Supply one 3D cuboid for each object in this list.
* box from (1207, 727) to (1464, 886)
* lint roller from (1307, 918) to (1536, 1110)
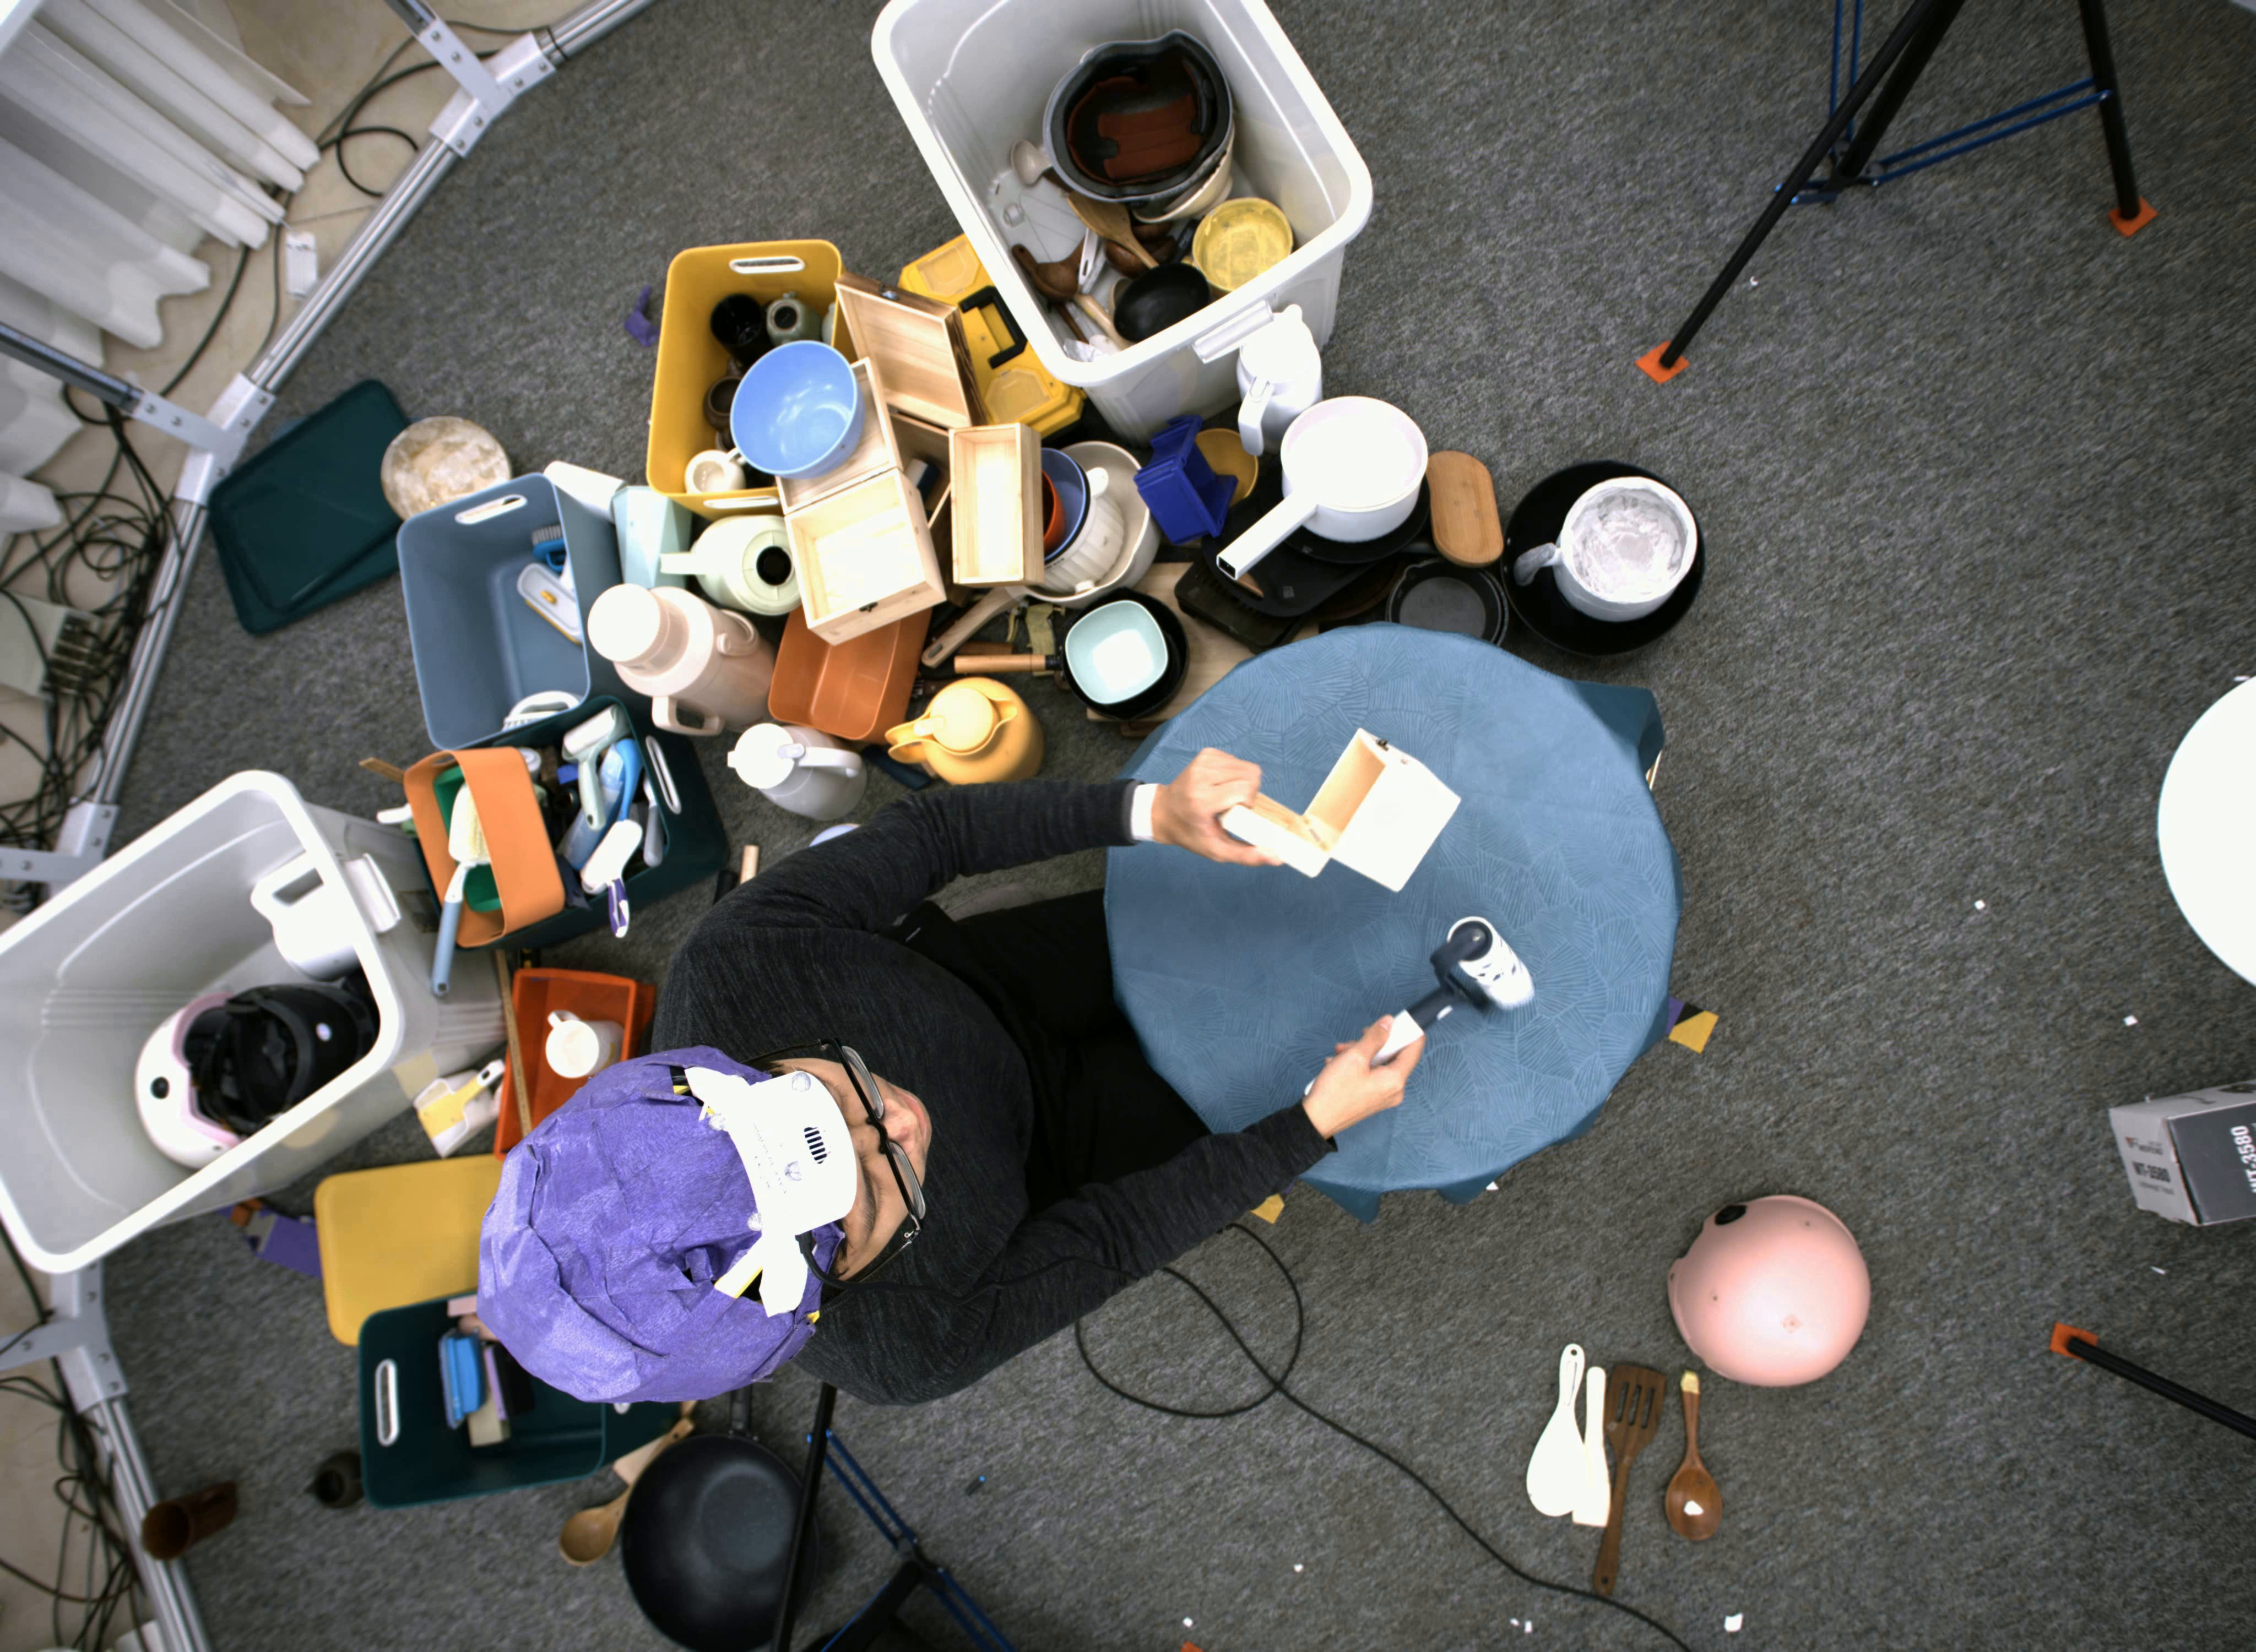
[{"bbox_3d":[0.188,-0.034,1.267,0.185,0.101,0.135,25,105,-18],"label":"box"},{"bbox_3d":[0.282,0.204,1.363,0.249,0.178,0.049,-41,50,8],"label":"lint roller"}]
